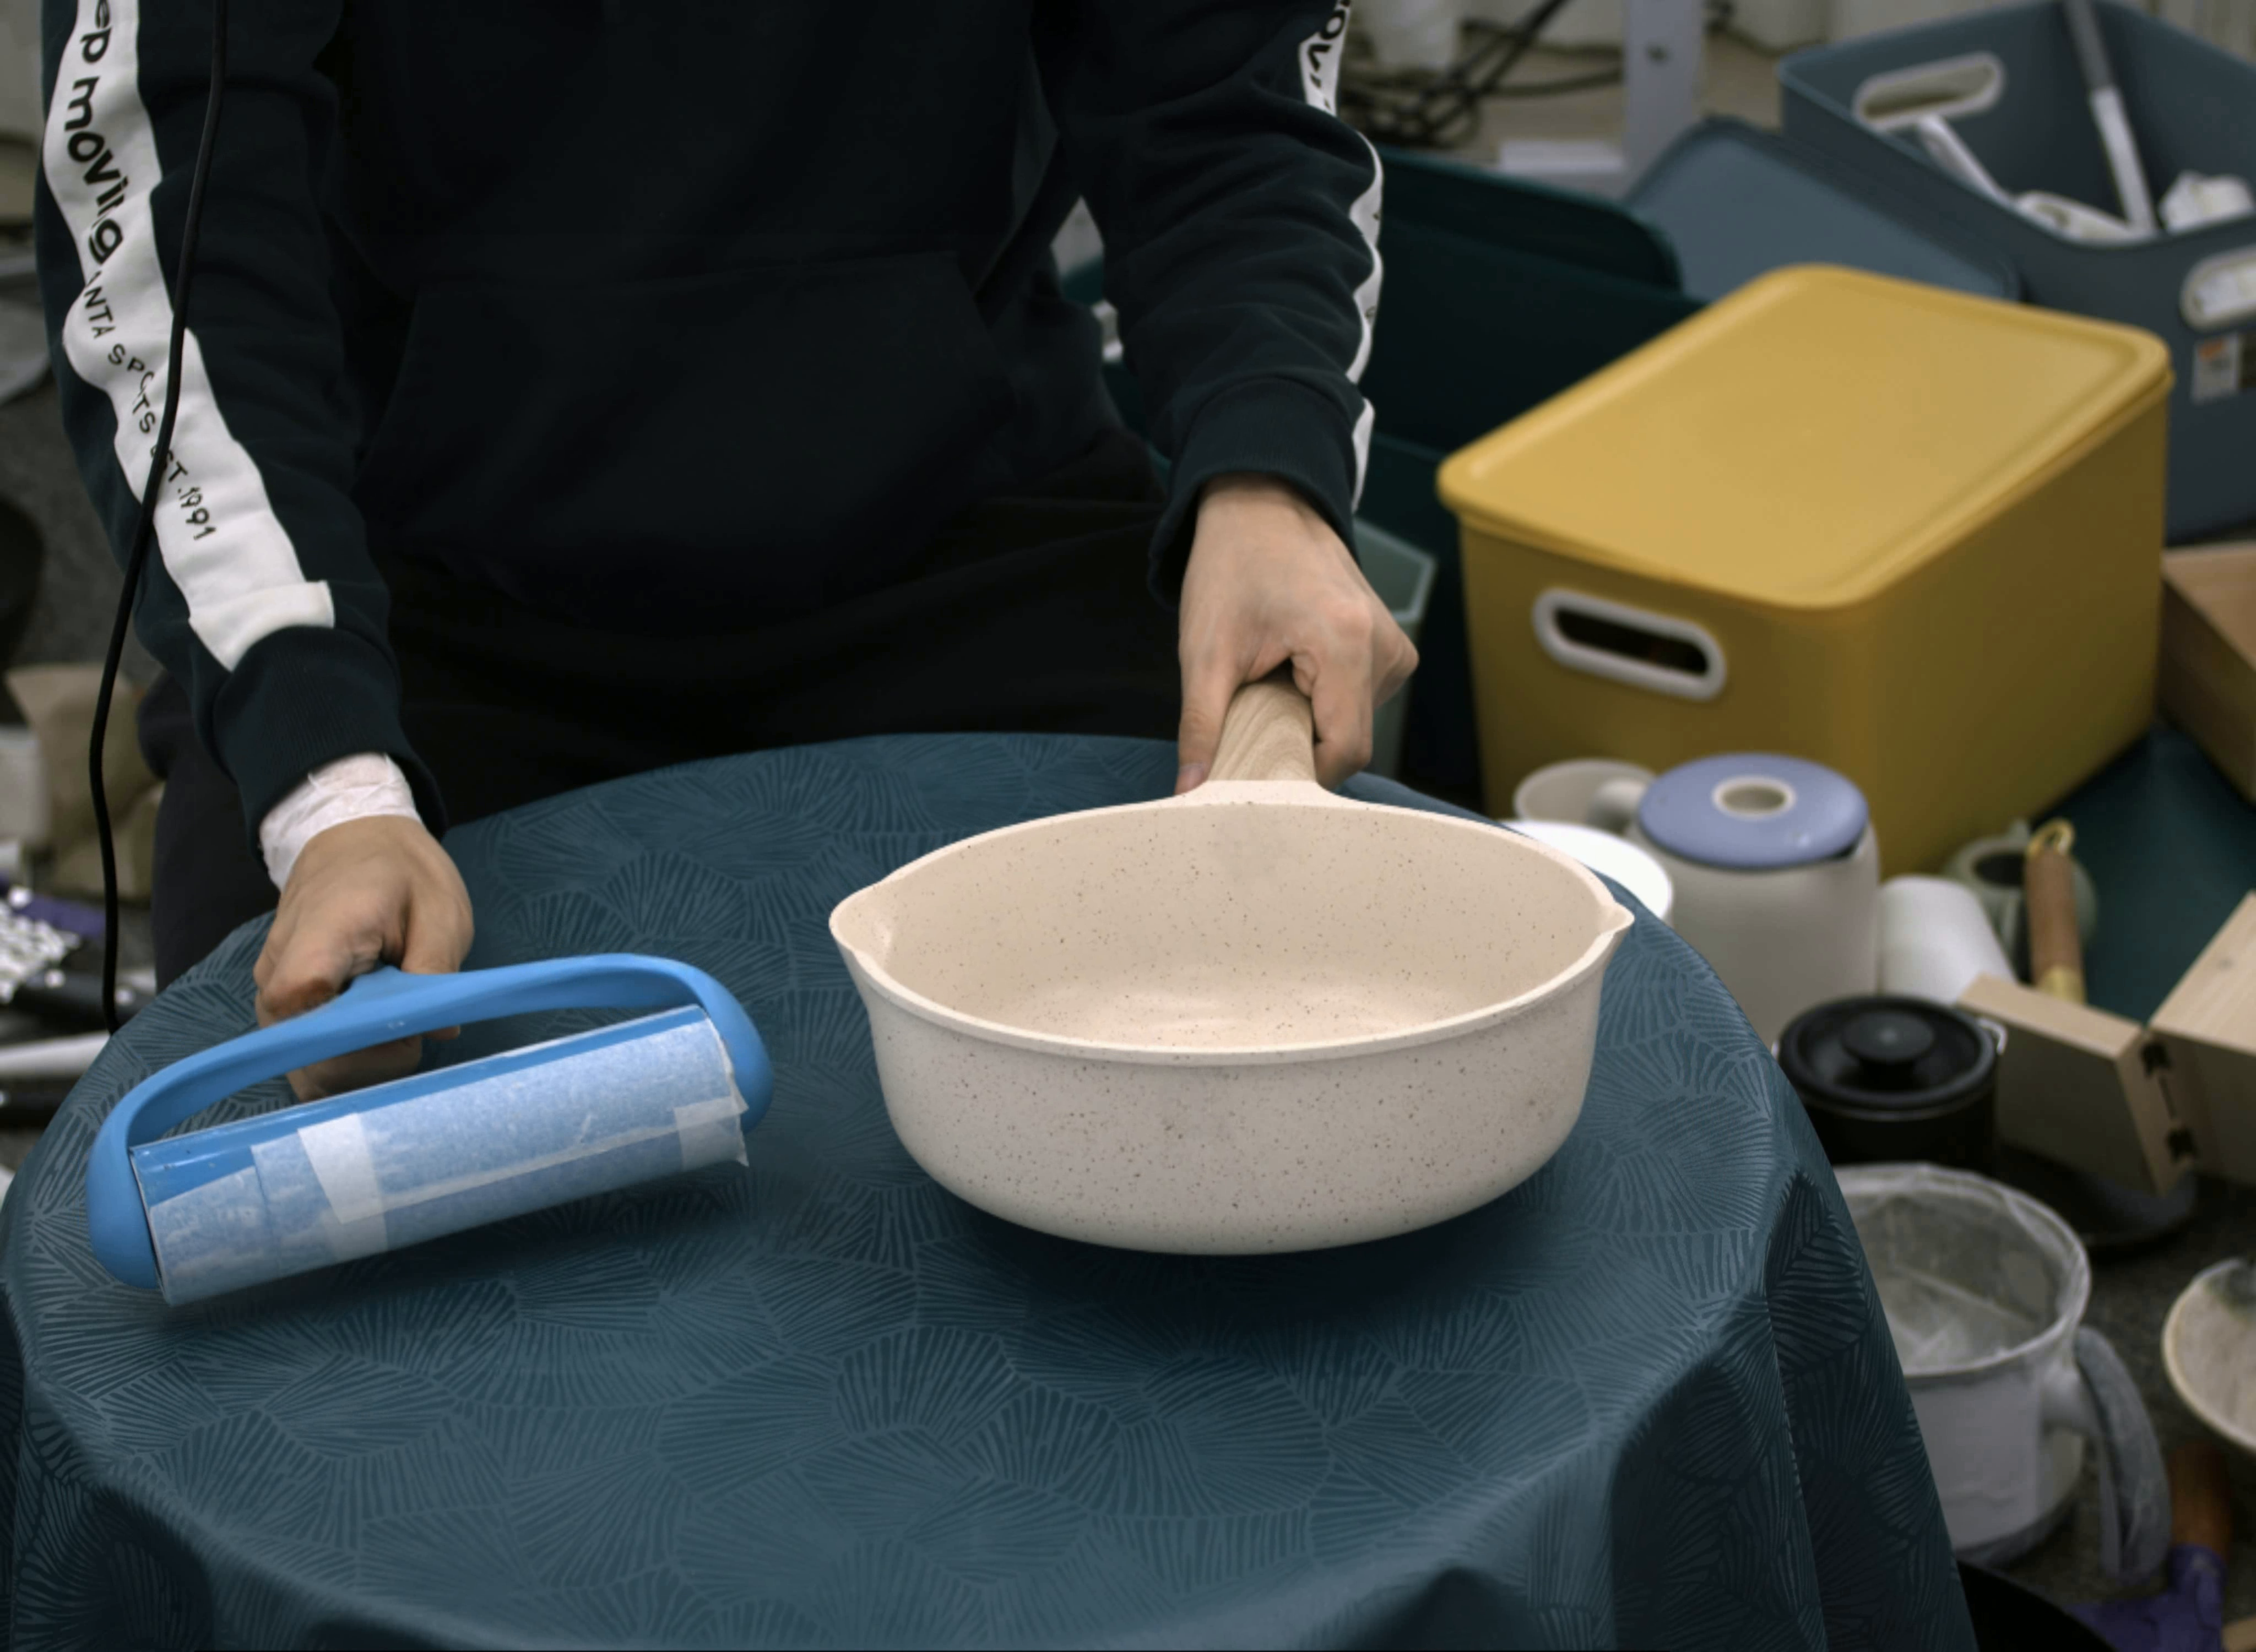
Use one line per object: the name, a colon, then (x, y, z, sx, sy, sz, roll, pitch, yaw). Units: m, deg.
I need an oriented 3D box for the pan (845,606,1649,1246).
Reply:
pan: (0.046, 0.031, 1.926, 0.262, 0.101, 0.439, -1, 17, 4)

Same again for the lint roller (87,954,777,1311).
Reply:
lint roller: (-0.246, 0.083, 1.879, 0.229, 0.067, 0.181, -17, 28, -16)
